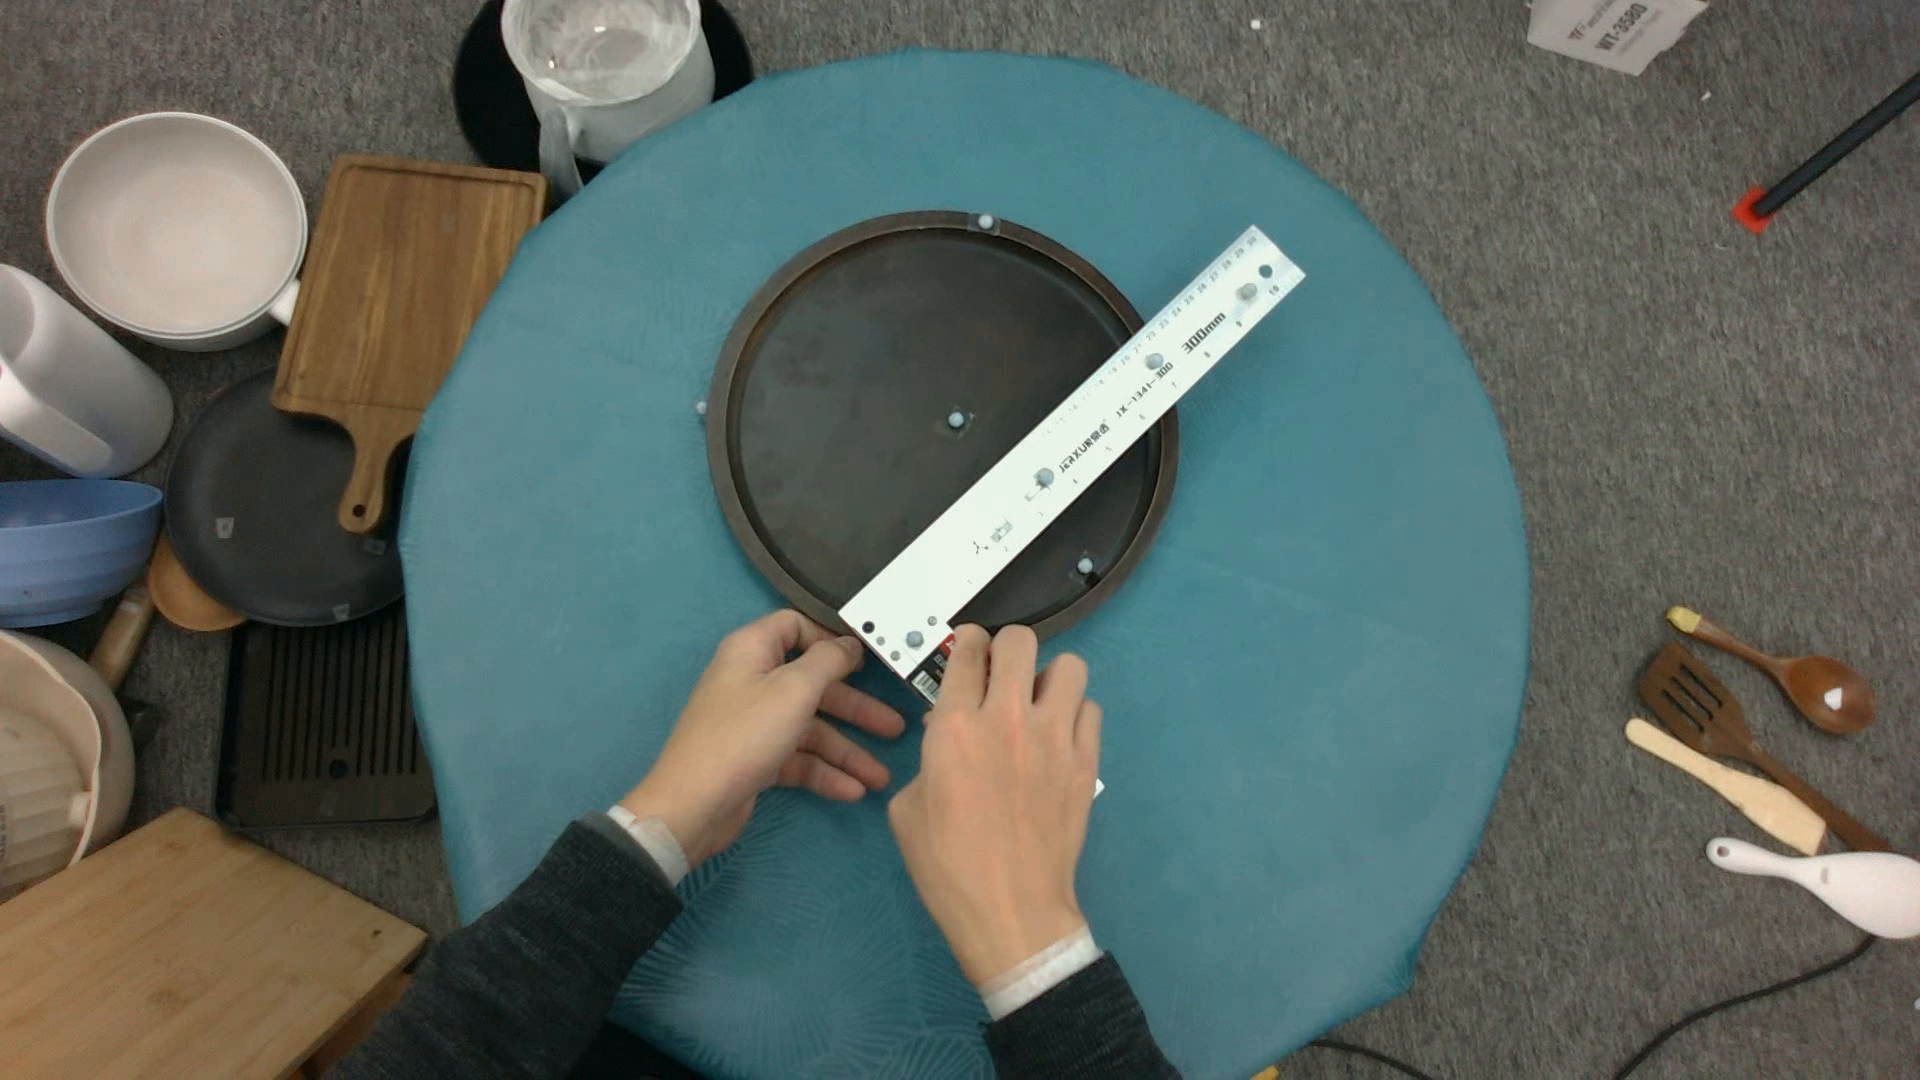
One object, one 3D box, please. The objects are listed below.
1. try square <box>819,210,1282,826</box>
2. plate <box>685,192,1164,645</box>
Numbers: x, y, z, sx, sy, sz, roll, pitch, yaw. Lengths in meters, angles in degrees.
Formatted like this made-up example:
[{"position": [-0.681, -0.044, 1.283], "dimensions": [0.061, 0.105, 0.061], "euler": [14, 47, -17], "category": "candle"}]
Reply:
[{"position": [0.090, -0.020, 0.700], "dimensions": [0.152, 0.016, 0.314], "euler": [46, 75, 2], "category": "try square"}, {"position": [-0.017, -0.067, 0.734], "dimensions": [0.255, 0.029, 0.255], "euler": [2, 74, -6], "category": "plate"}]
